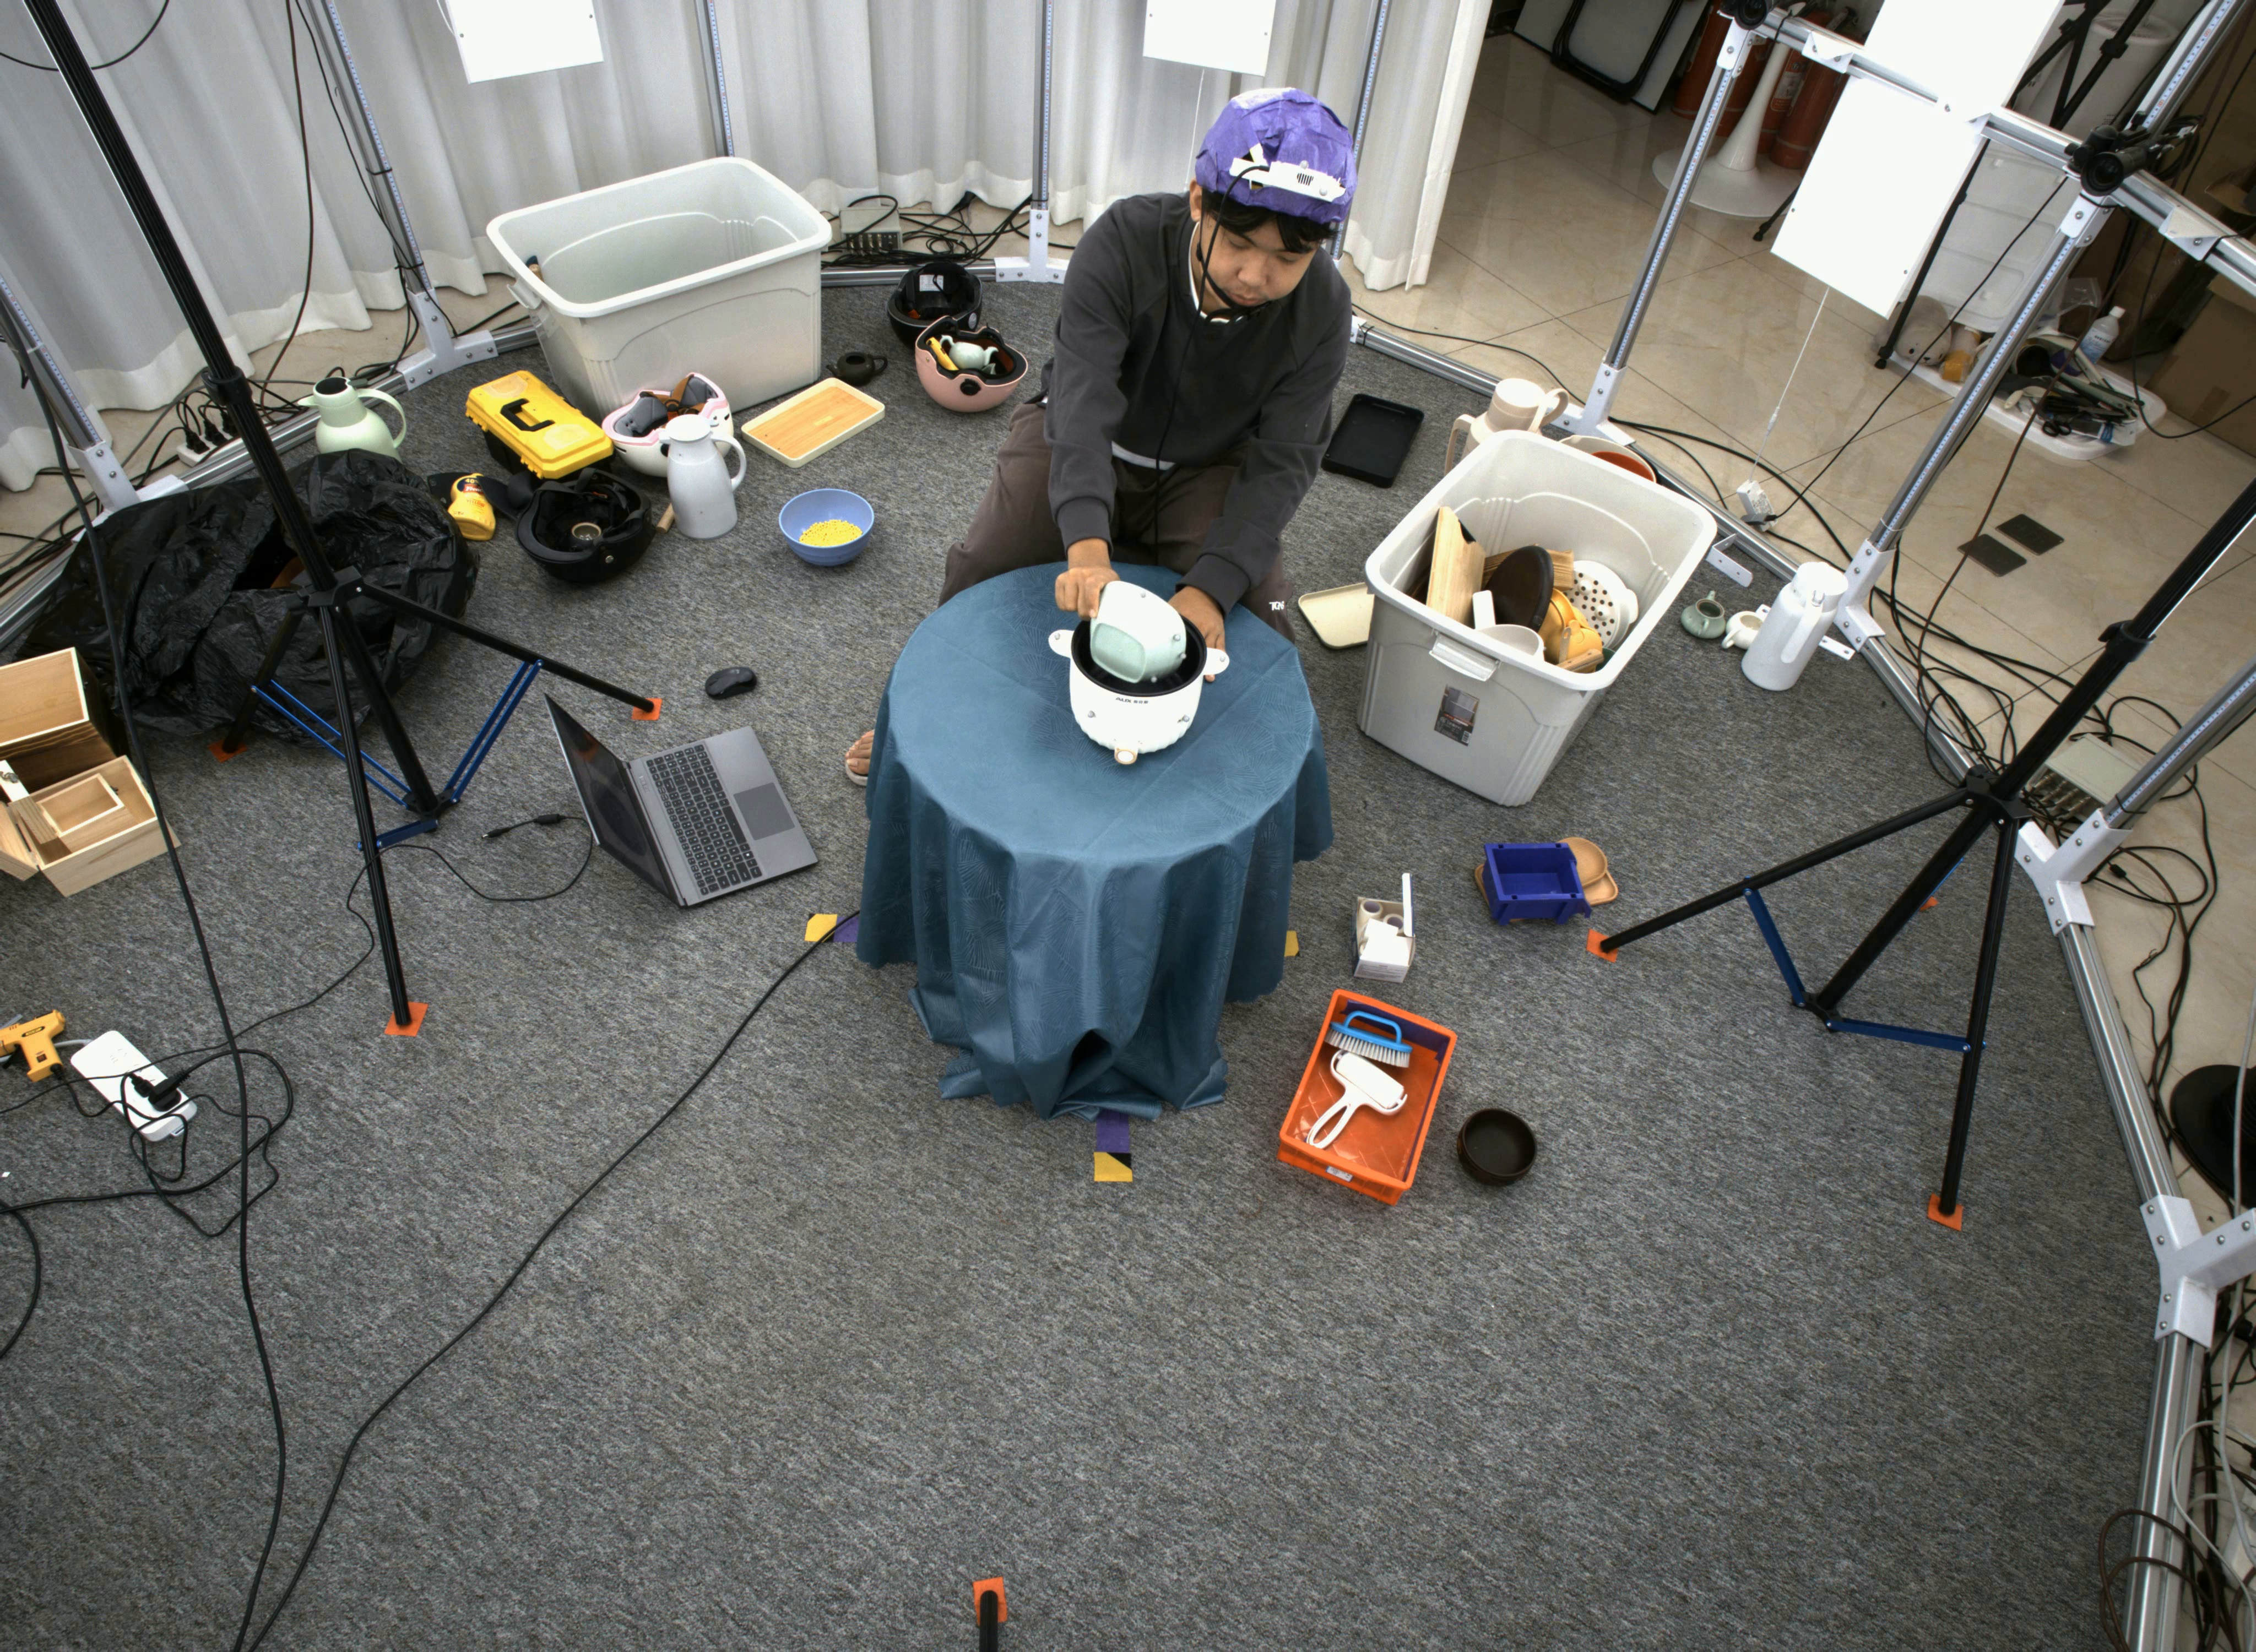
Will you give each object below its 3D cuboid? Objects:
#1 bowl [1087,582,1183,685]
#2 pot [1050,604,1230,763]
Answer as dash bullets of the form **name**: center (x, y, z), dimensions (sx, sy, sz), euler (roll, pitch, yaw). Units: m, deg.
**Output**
- **bowl**: center (-0.002, -0.241, 1.684), dimensions (0.153, 0.148, 0.059), euler (29, 52, 19)
- **pot**: center (0.013, -0.192, 1.742), dimensions (0.240, 0.139, 0.195), euler (5, 46, 2)
